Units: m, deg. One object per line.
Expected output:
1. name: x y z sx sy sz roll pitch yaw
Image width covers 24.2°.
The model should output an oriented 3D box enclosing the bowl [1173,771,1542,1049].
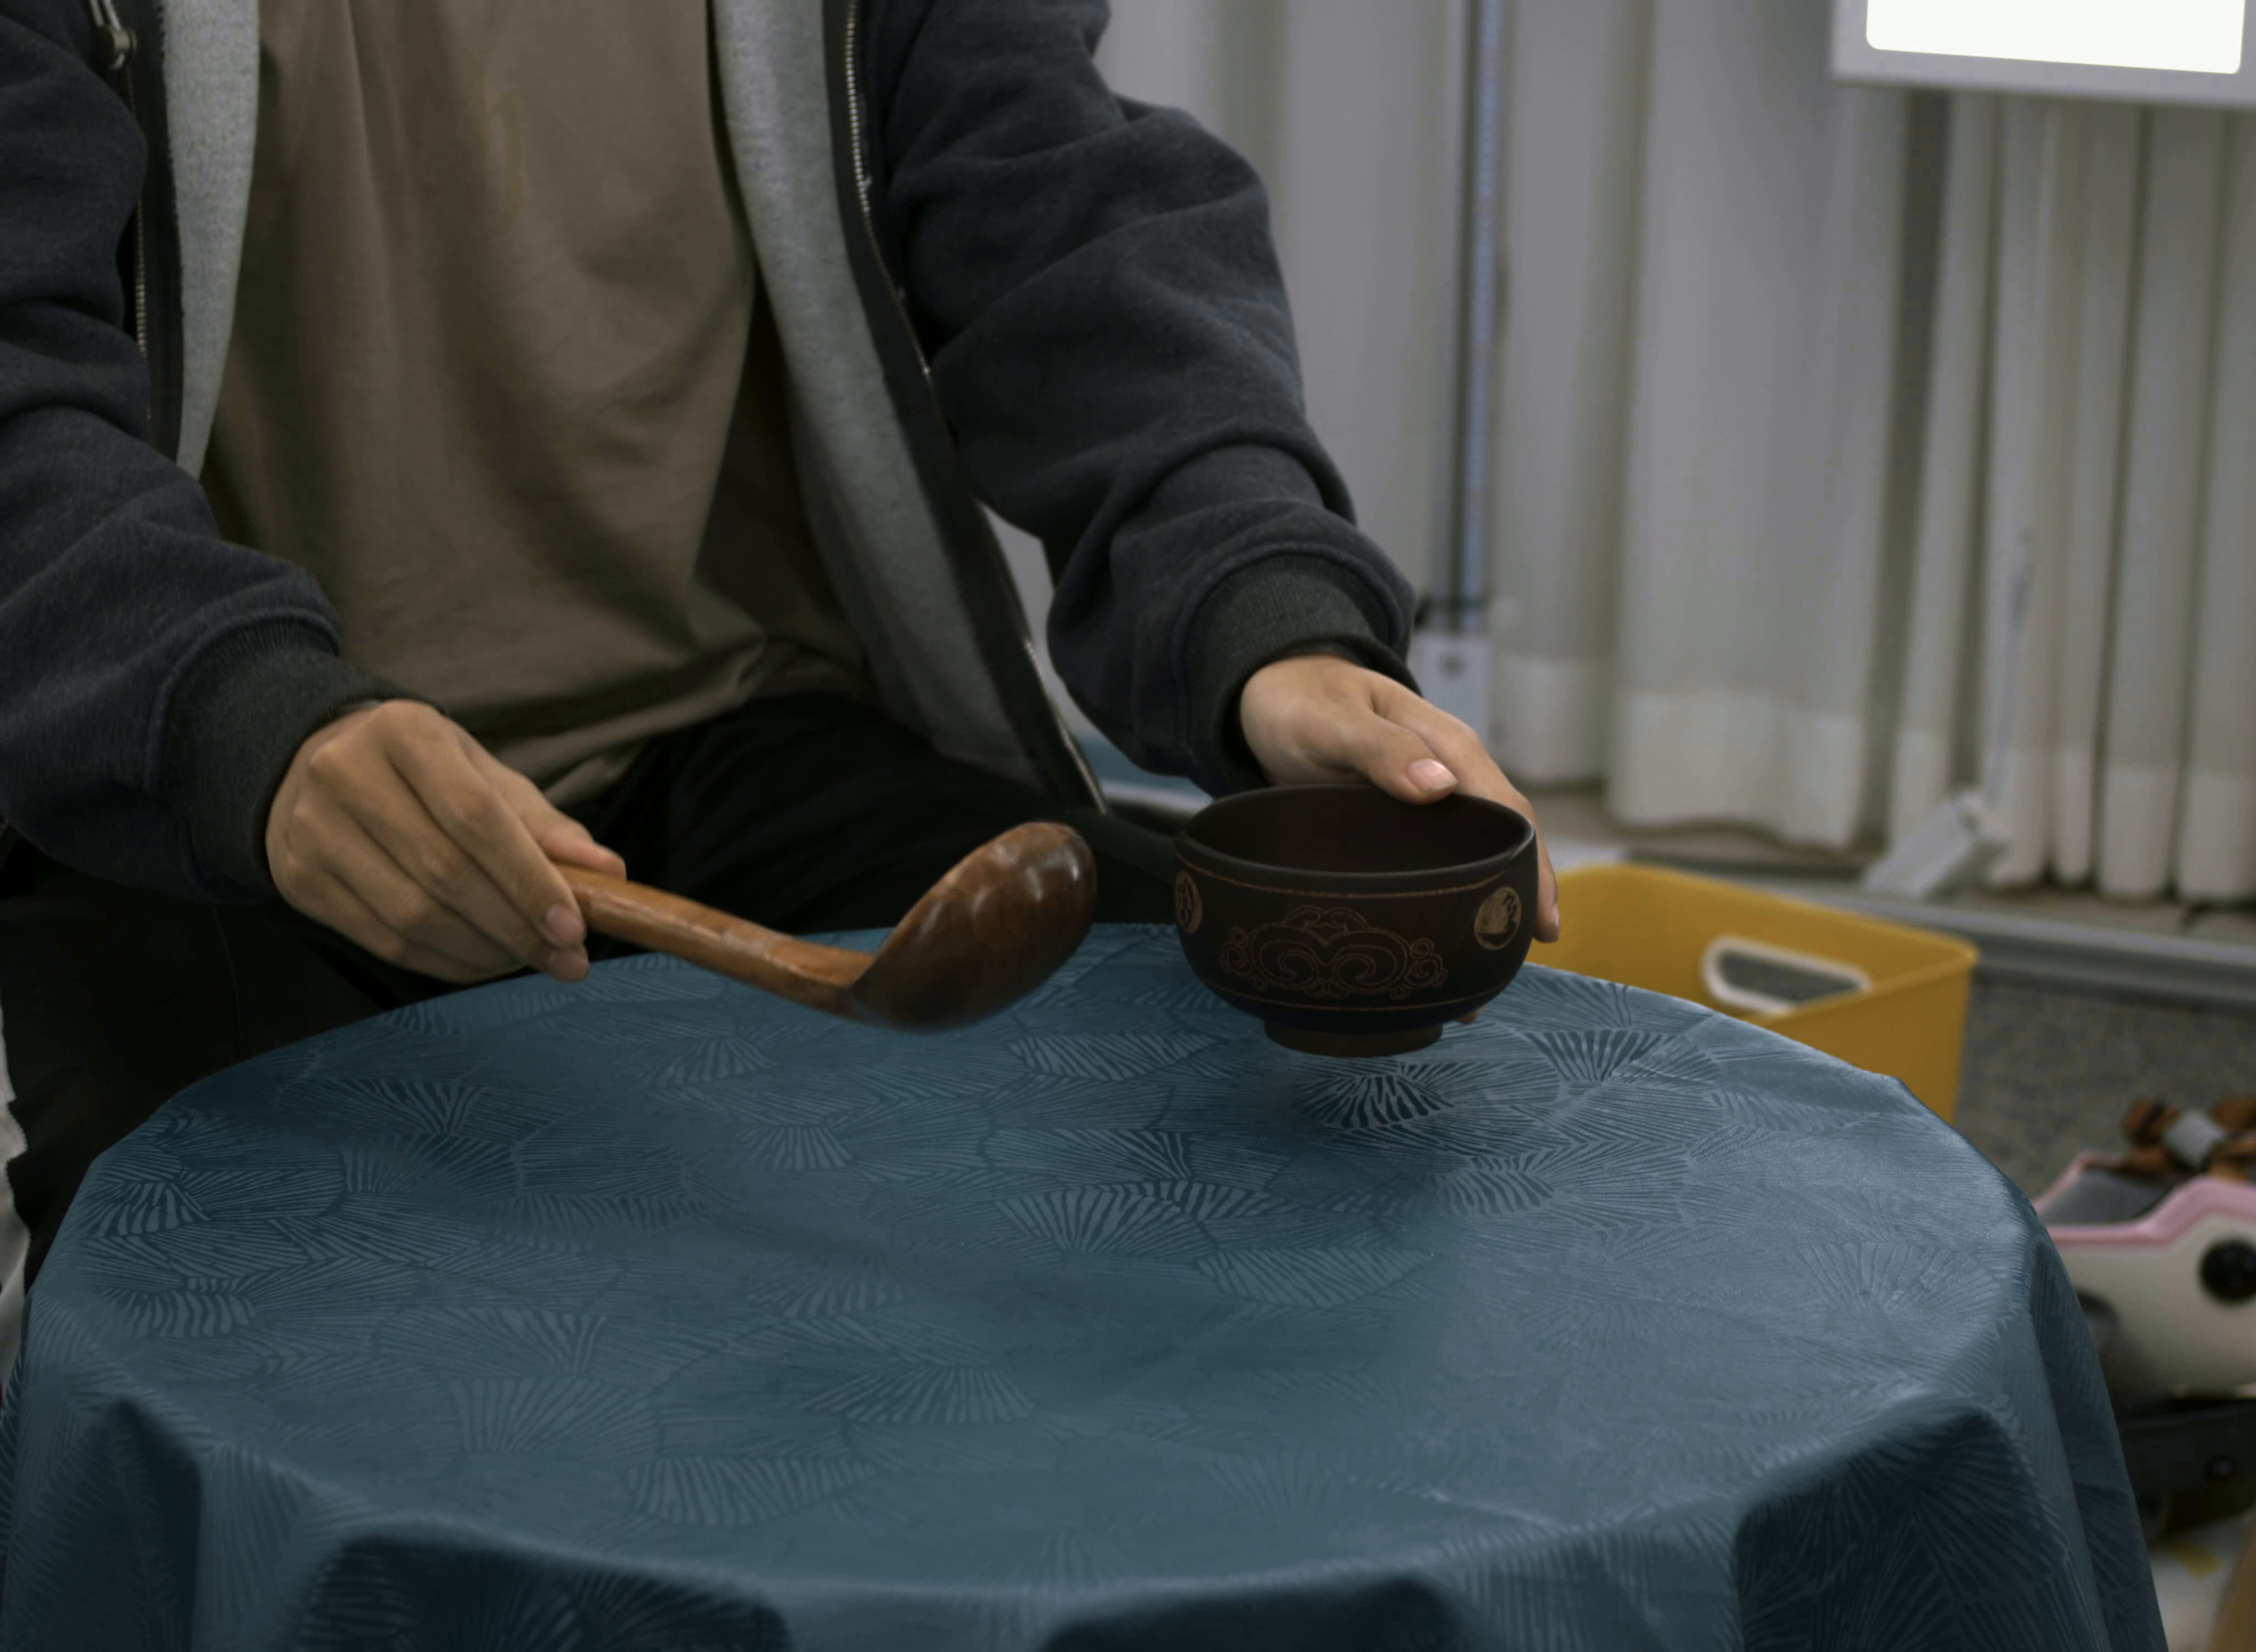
1. bowl: 0.073 0.030 1.680 0.117 0.070 0.117 0 16 0

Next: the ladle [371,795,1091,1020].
1. ladle: -0.128 0.003 1.569 0.270 0.077 0.082 15 22 35
